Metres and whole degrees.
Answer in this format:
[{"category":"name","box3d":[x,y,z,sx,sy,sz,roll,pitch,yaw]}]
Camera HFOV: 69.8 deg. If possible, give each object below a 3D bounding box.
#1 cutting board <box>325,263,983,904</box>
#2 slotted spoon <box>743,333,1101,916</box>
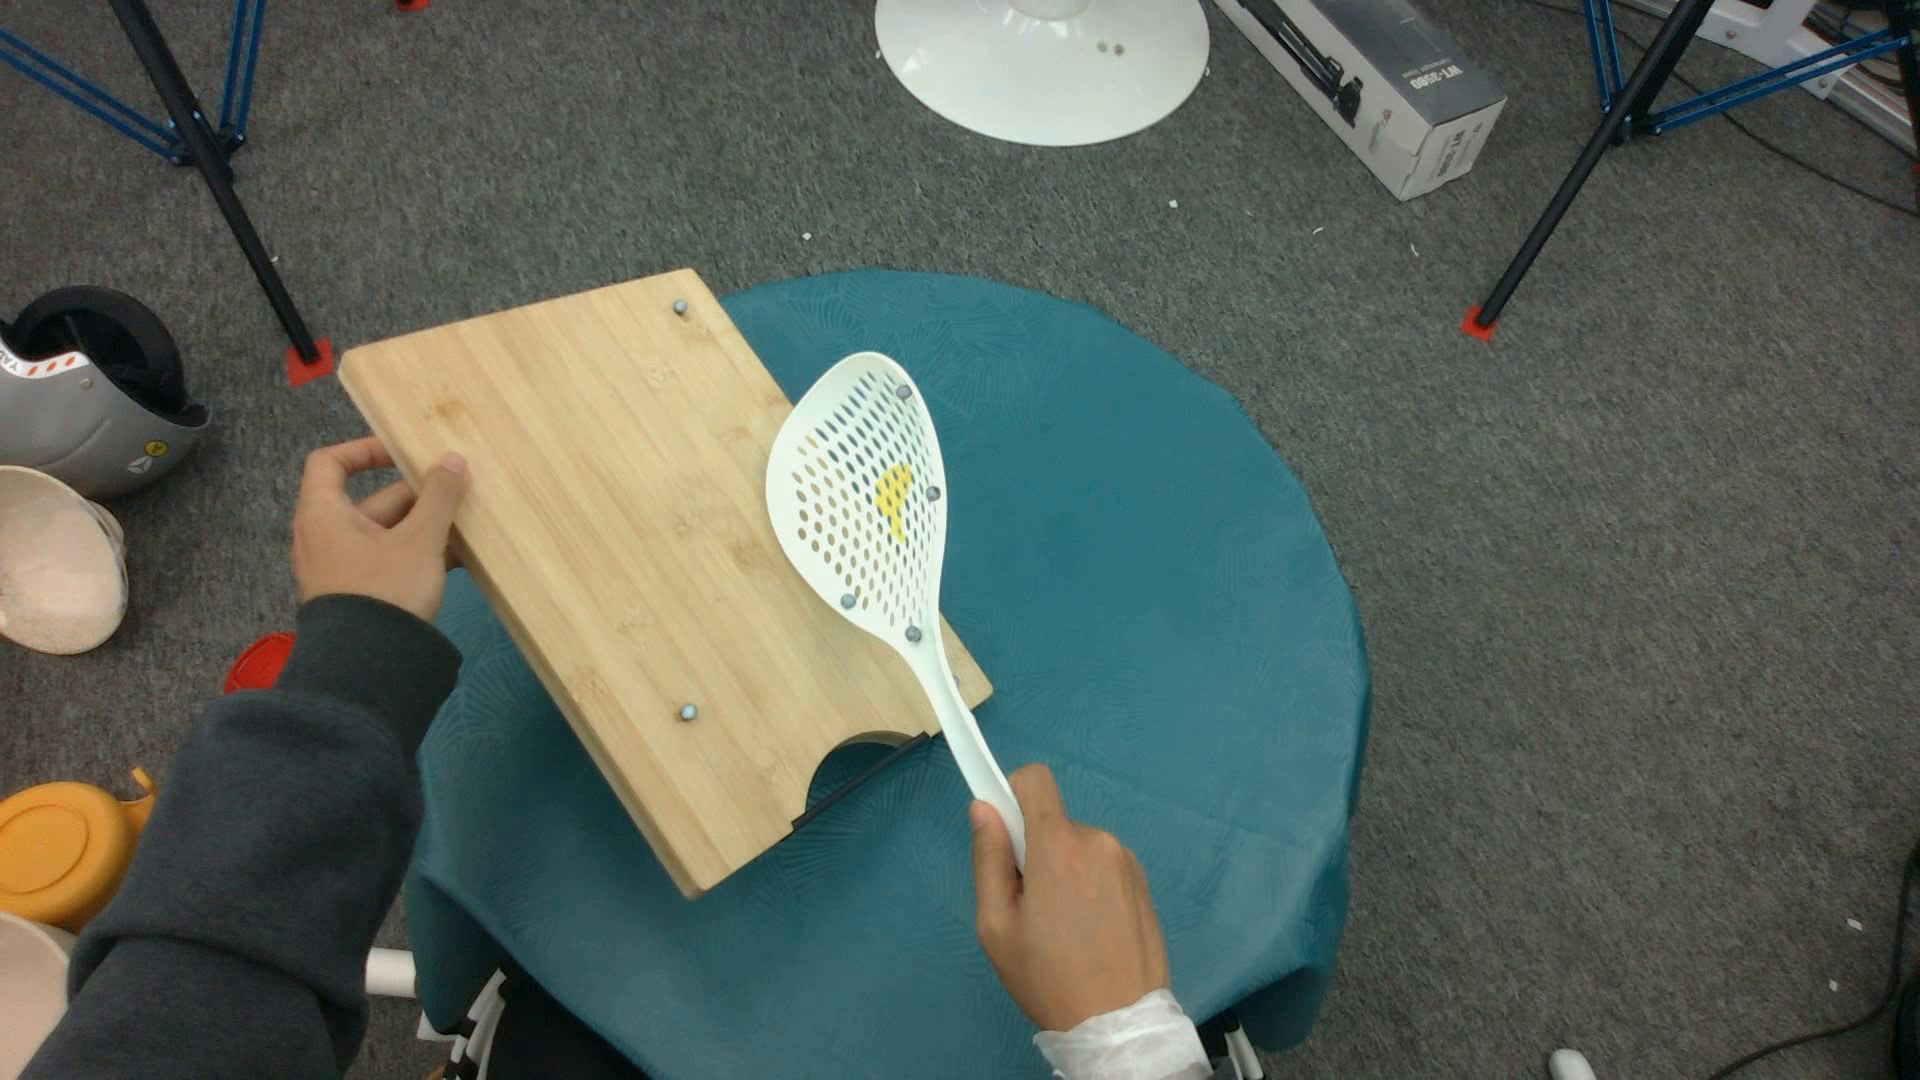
[{"category":"cutting board","box3d":[-0.161,-0.001,0.790,0.252,0.023,0.349,-30,81,-46]},{"category":"slotted spoon","box3d":[-0.020,0.042,0.727,0.050,0.136,0.349,13,43,-47]}]
